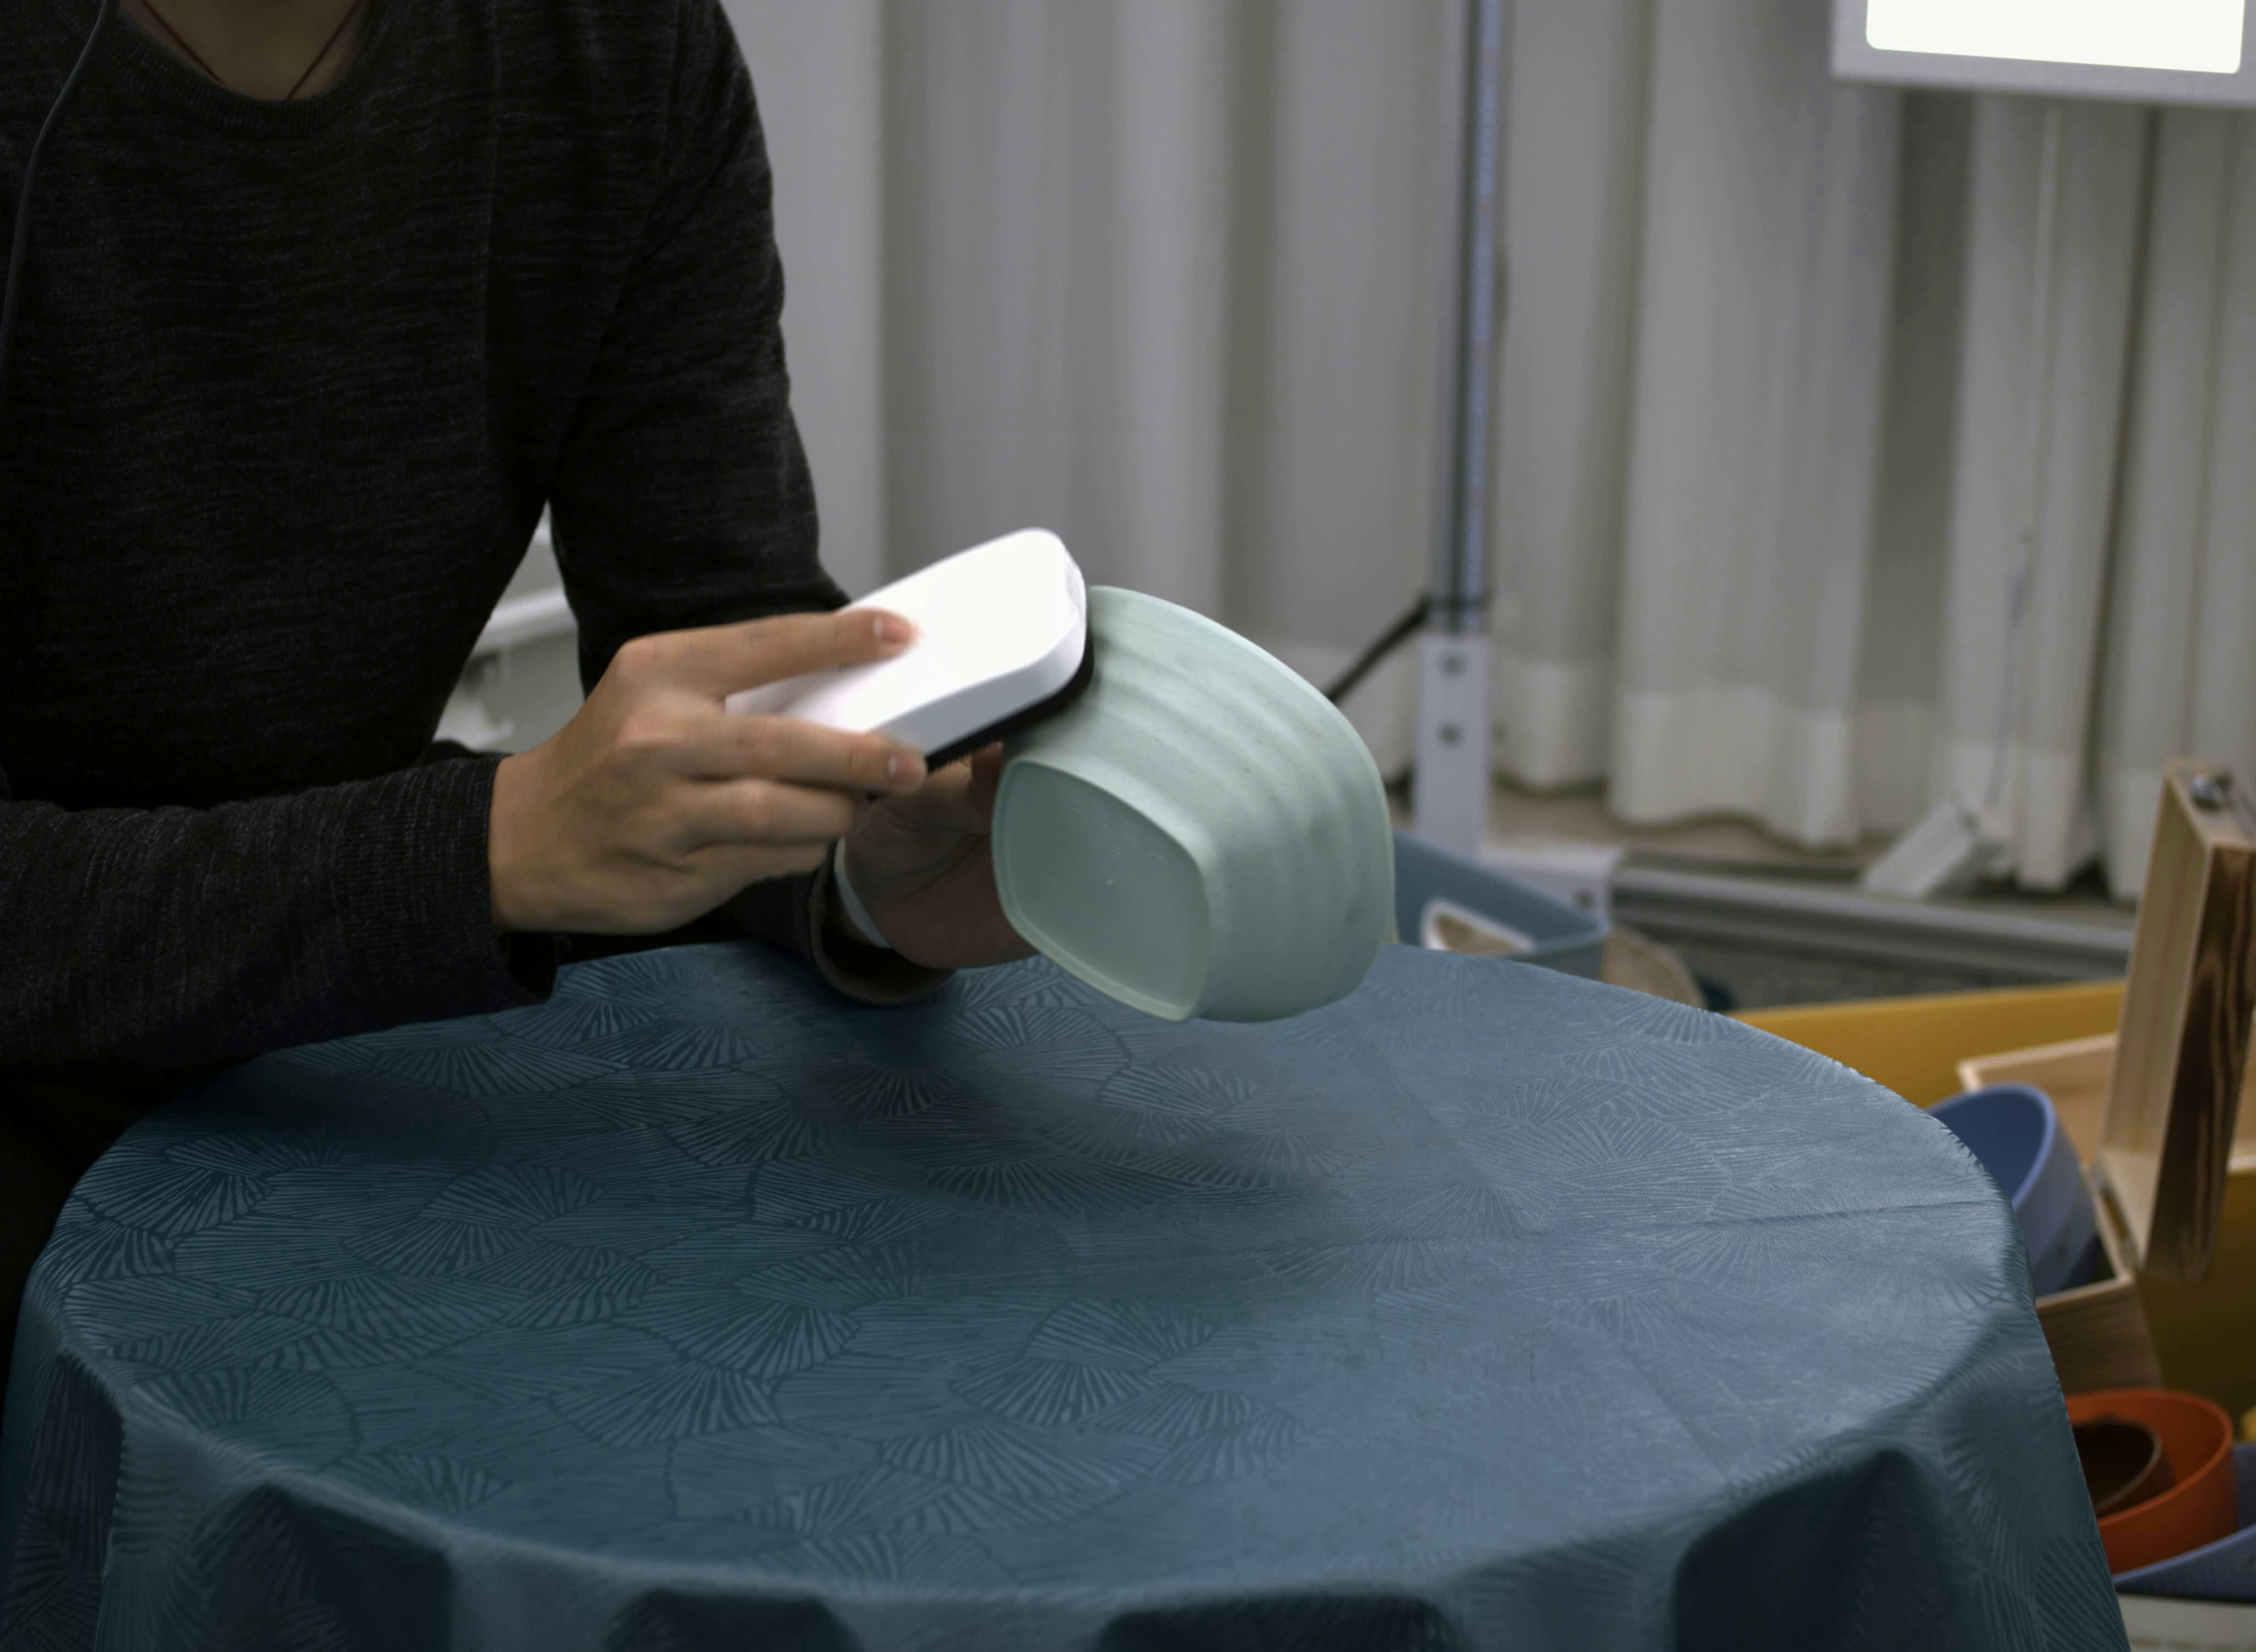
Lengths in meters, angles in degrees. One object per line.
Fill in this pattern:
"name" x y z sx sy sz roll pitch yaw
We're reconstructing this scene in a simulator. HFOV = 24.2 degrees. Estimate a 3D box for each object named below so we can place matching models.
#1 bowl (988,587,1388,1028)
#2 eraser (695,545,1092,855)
"bowl" 0.008 0.006 1.602 0.149 0.153 0.058 14 41 39
"eraser" -0.072 -0.040 1.591 0.130 0.035 0.063 -23 40 20
